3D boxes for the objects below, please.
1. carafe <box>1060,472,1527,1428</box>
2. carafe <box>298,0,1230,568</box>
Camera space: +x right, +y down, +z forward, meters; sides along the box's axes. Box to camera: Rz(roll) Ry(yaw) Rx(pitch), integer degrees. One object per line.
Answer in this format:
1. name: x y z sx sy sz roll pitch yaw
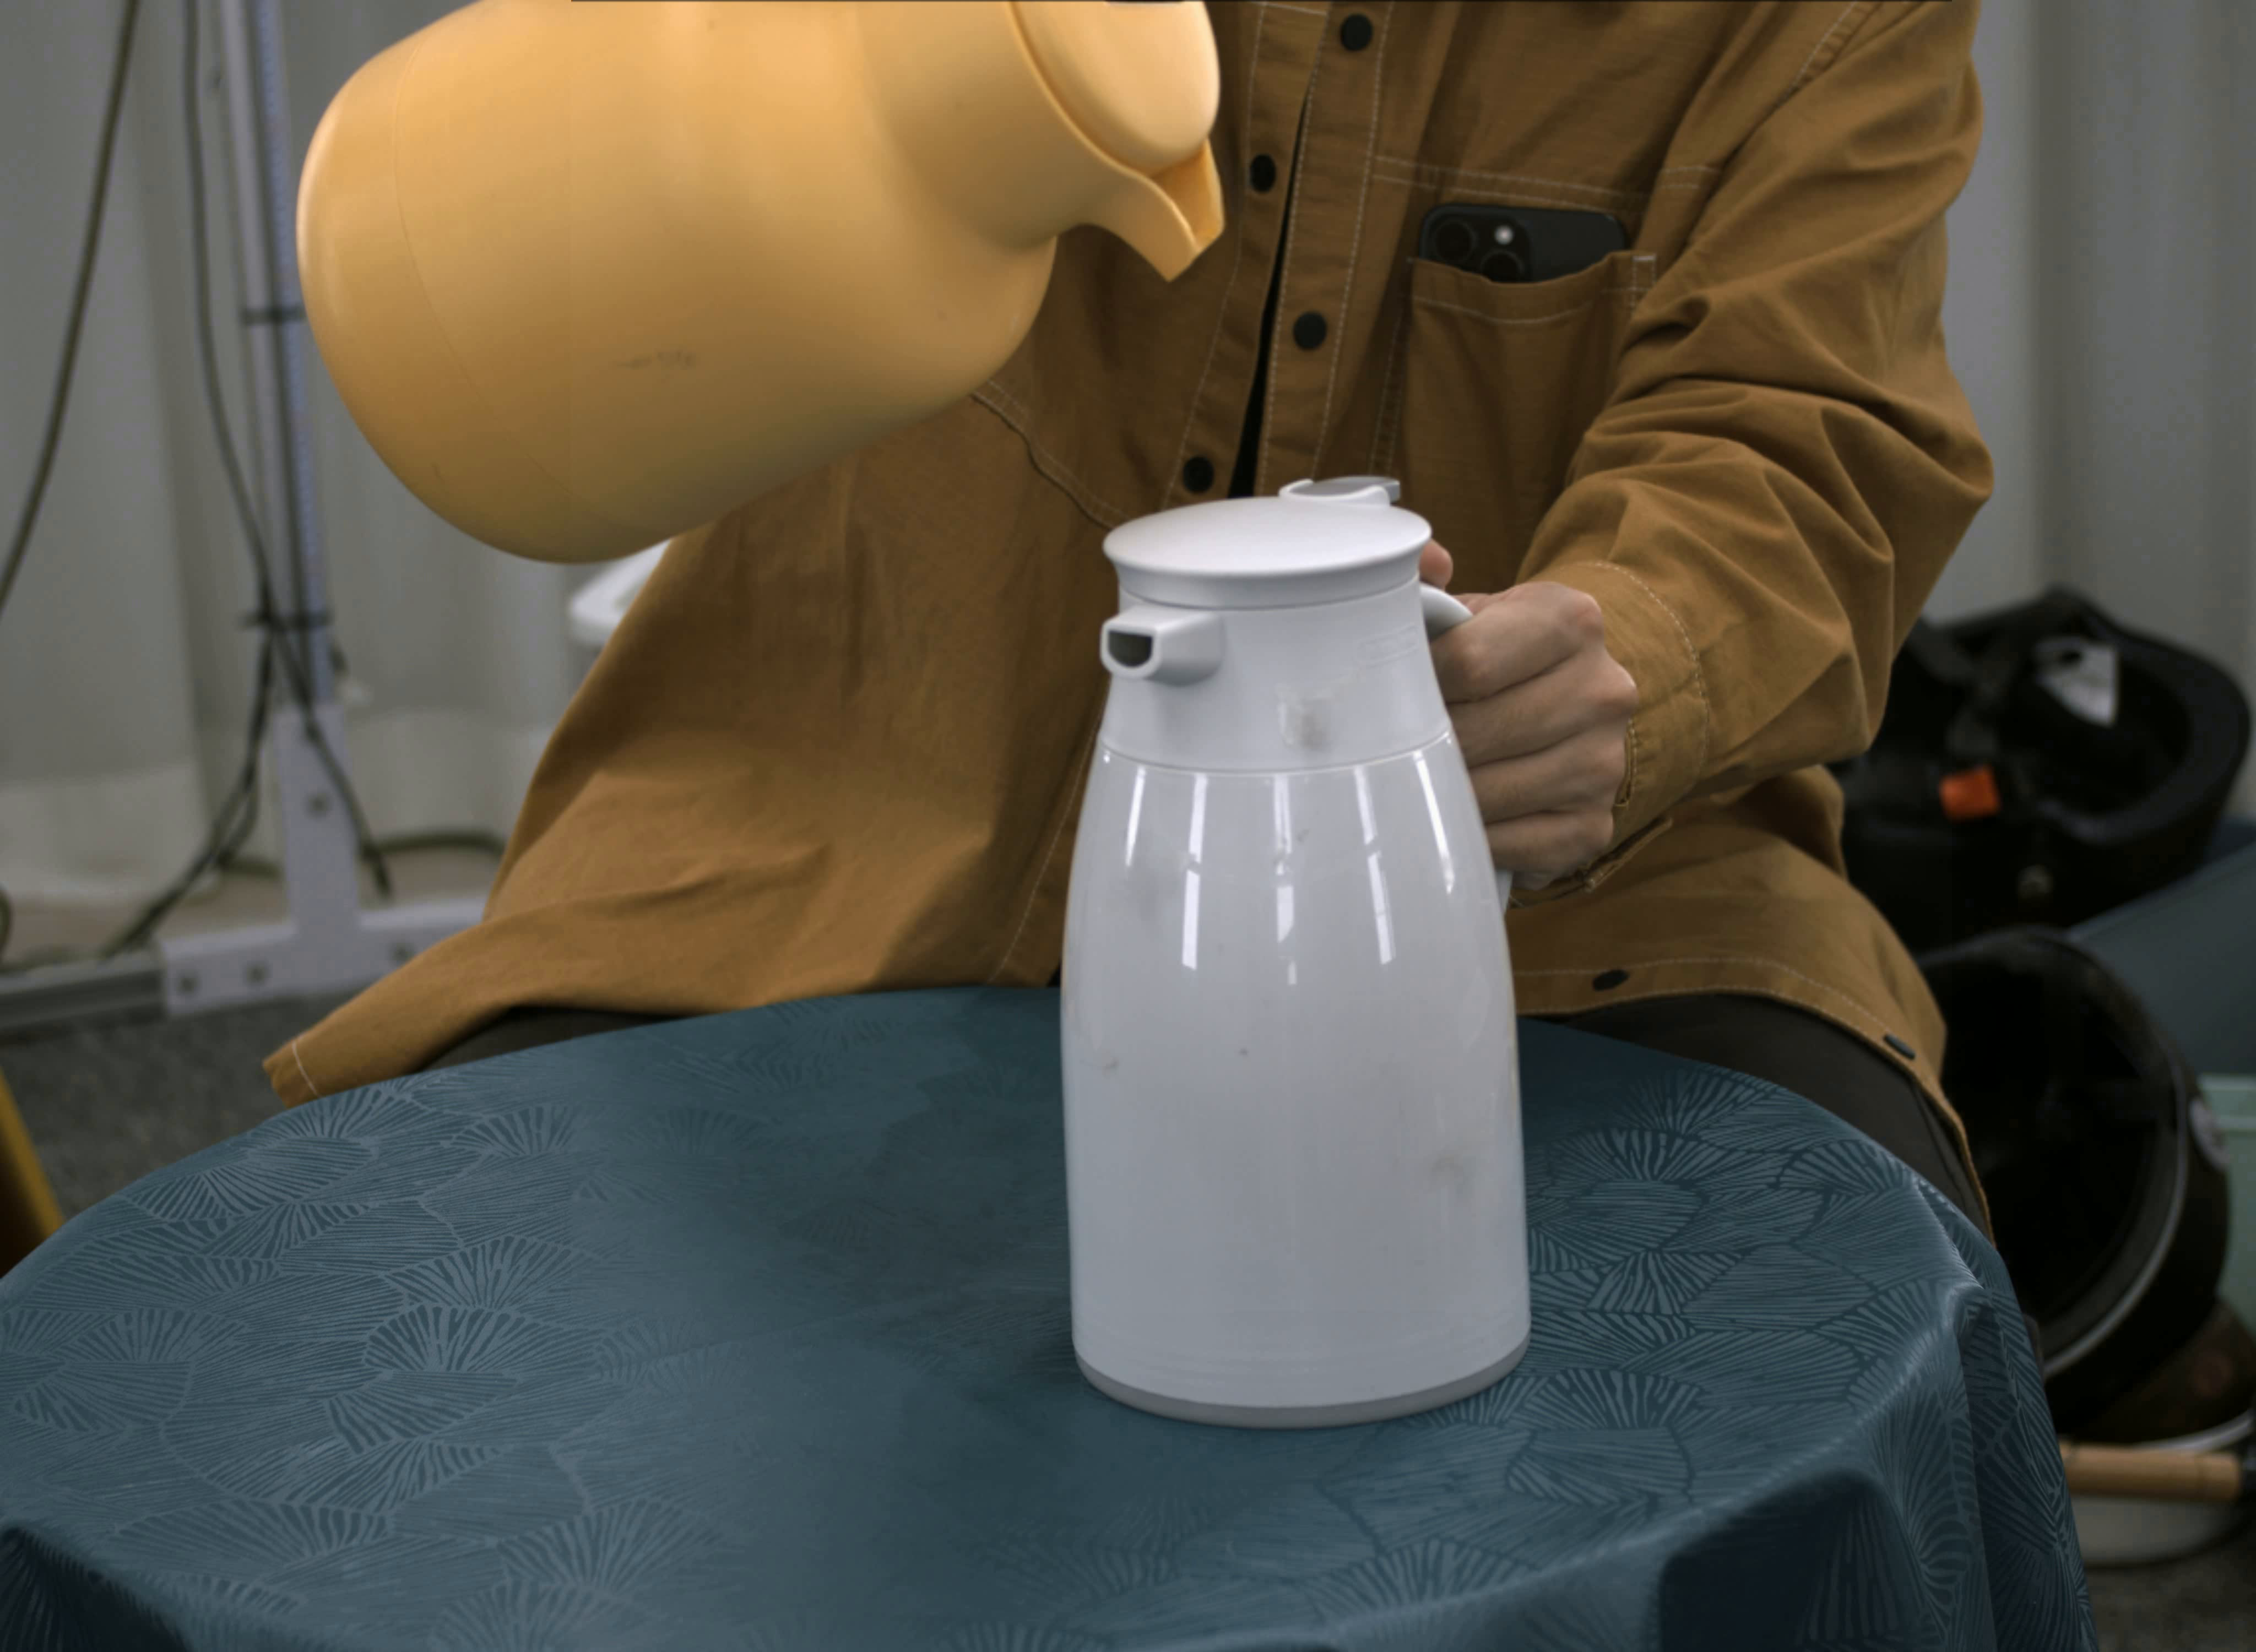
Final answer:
1. carafe: 0.055 0.026 1.558 0.133 0.248 0.167 8 17 38
2. carafe: -0.107 -0.201 1.548 0.259 0.202 0.164 -22 12 28
